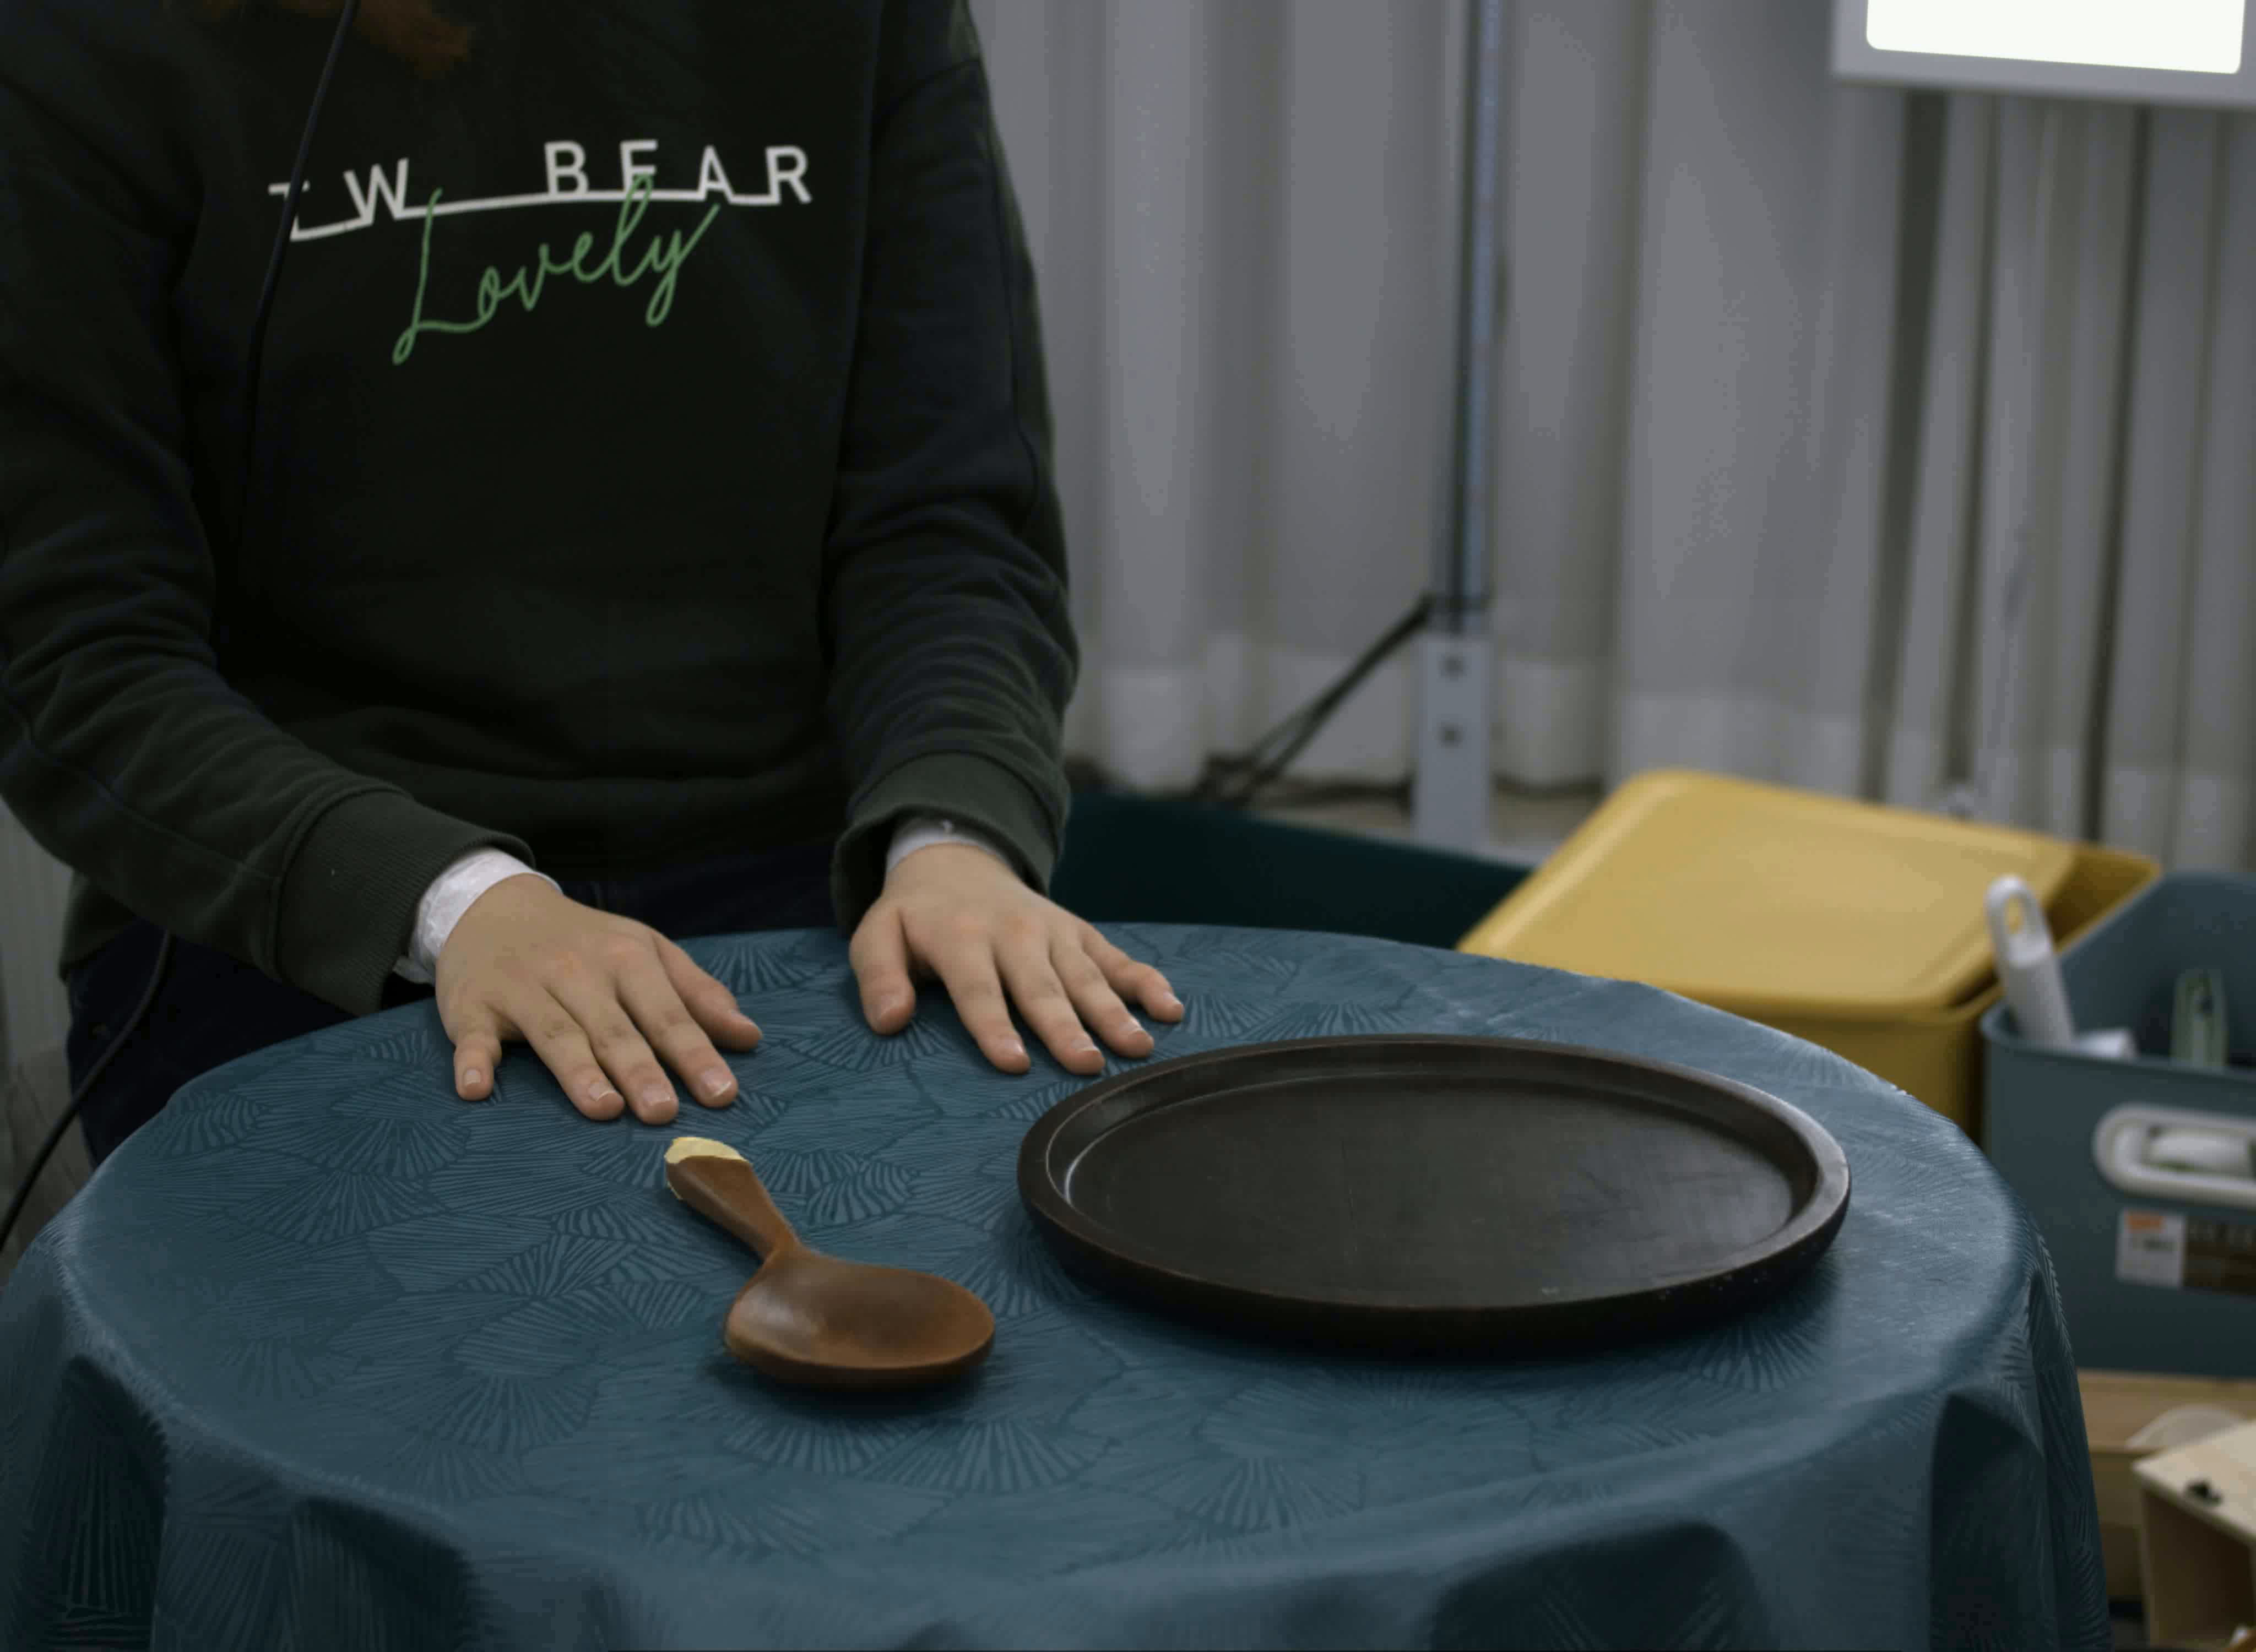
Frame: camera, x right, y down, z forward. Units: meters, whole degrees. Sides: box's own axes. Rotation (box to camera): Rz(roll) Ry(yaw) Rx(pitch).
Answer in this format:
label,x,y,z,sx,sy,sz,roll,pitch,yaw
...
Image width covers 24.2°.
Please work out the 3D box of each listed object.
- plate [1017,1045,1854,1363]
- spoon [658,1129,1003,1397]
label,x,y,z,sx,sy,sz,roll,pitch,yaw
plate,0.092,0.111,1.595,0.254,0.029,0.253,2,16,0
spoon,-0.097,0.128,1.536,0.076,0.017,0.213,-6,17,-21
